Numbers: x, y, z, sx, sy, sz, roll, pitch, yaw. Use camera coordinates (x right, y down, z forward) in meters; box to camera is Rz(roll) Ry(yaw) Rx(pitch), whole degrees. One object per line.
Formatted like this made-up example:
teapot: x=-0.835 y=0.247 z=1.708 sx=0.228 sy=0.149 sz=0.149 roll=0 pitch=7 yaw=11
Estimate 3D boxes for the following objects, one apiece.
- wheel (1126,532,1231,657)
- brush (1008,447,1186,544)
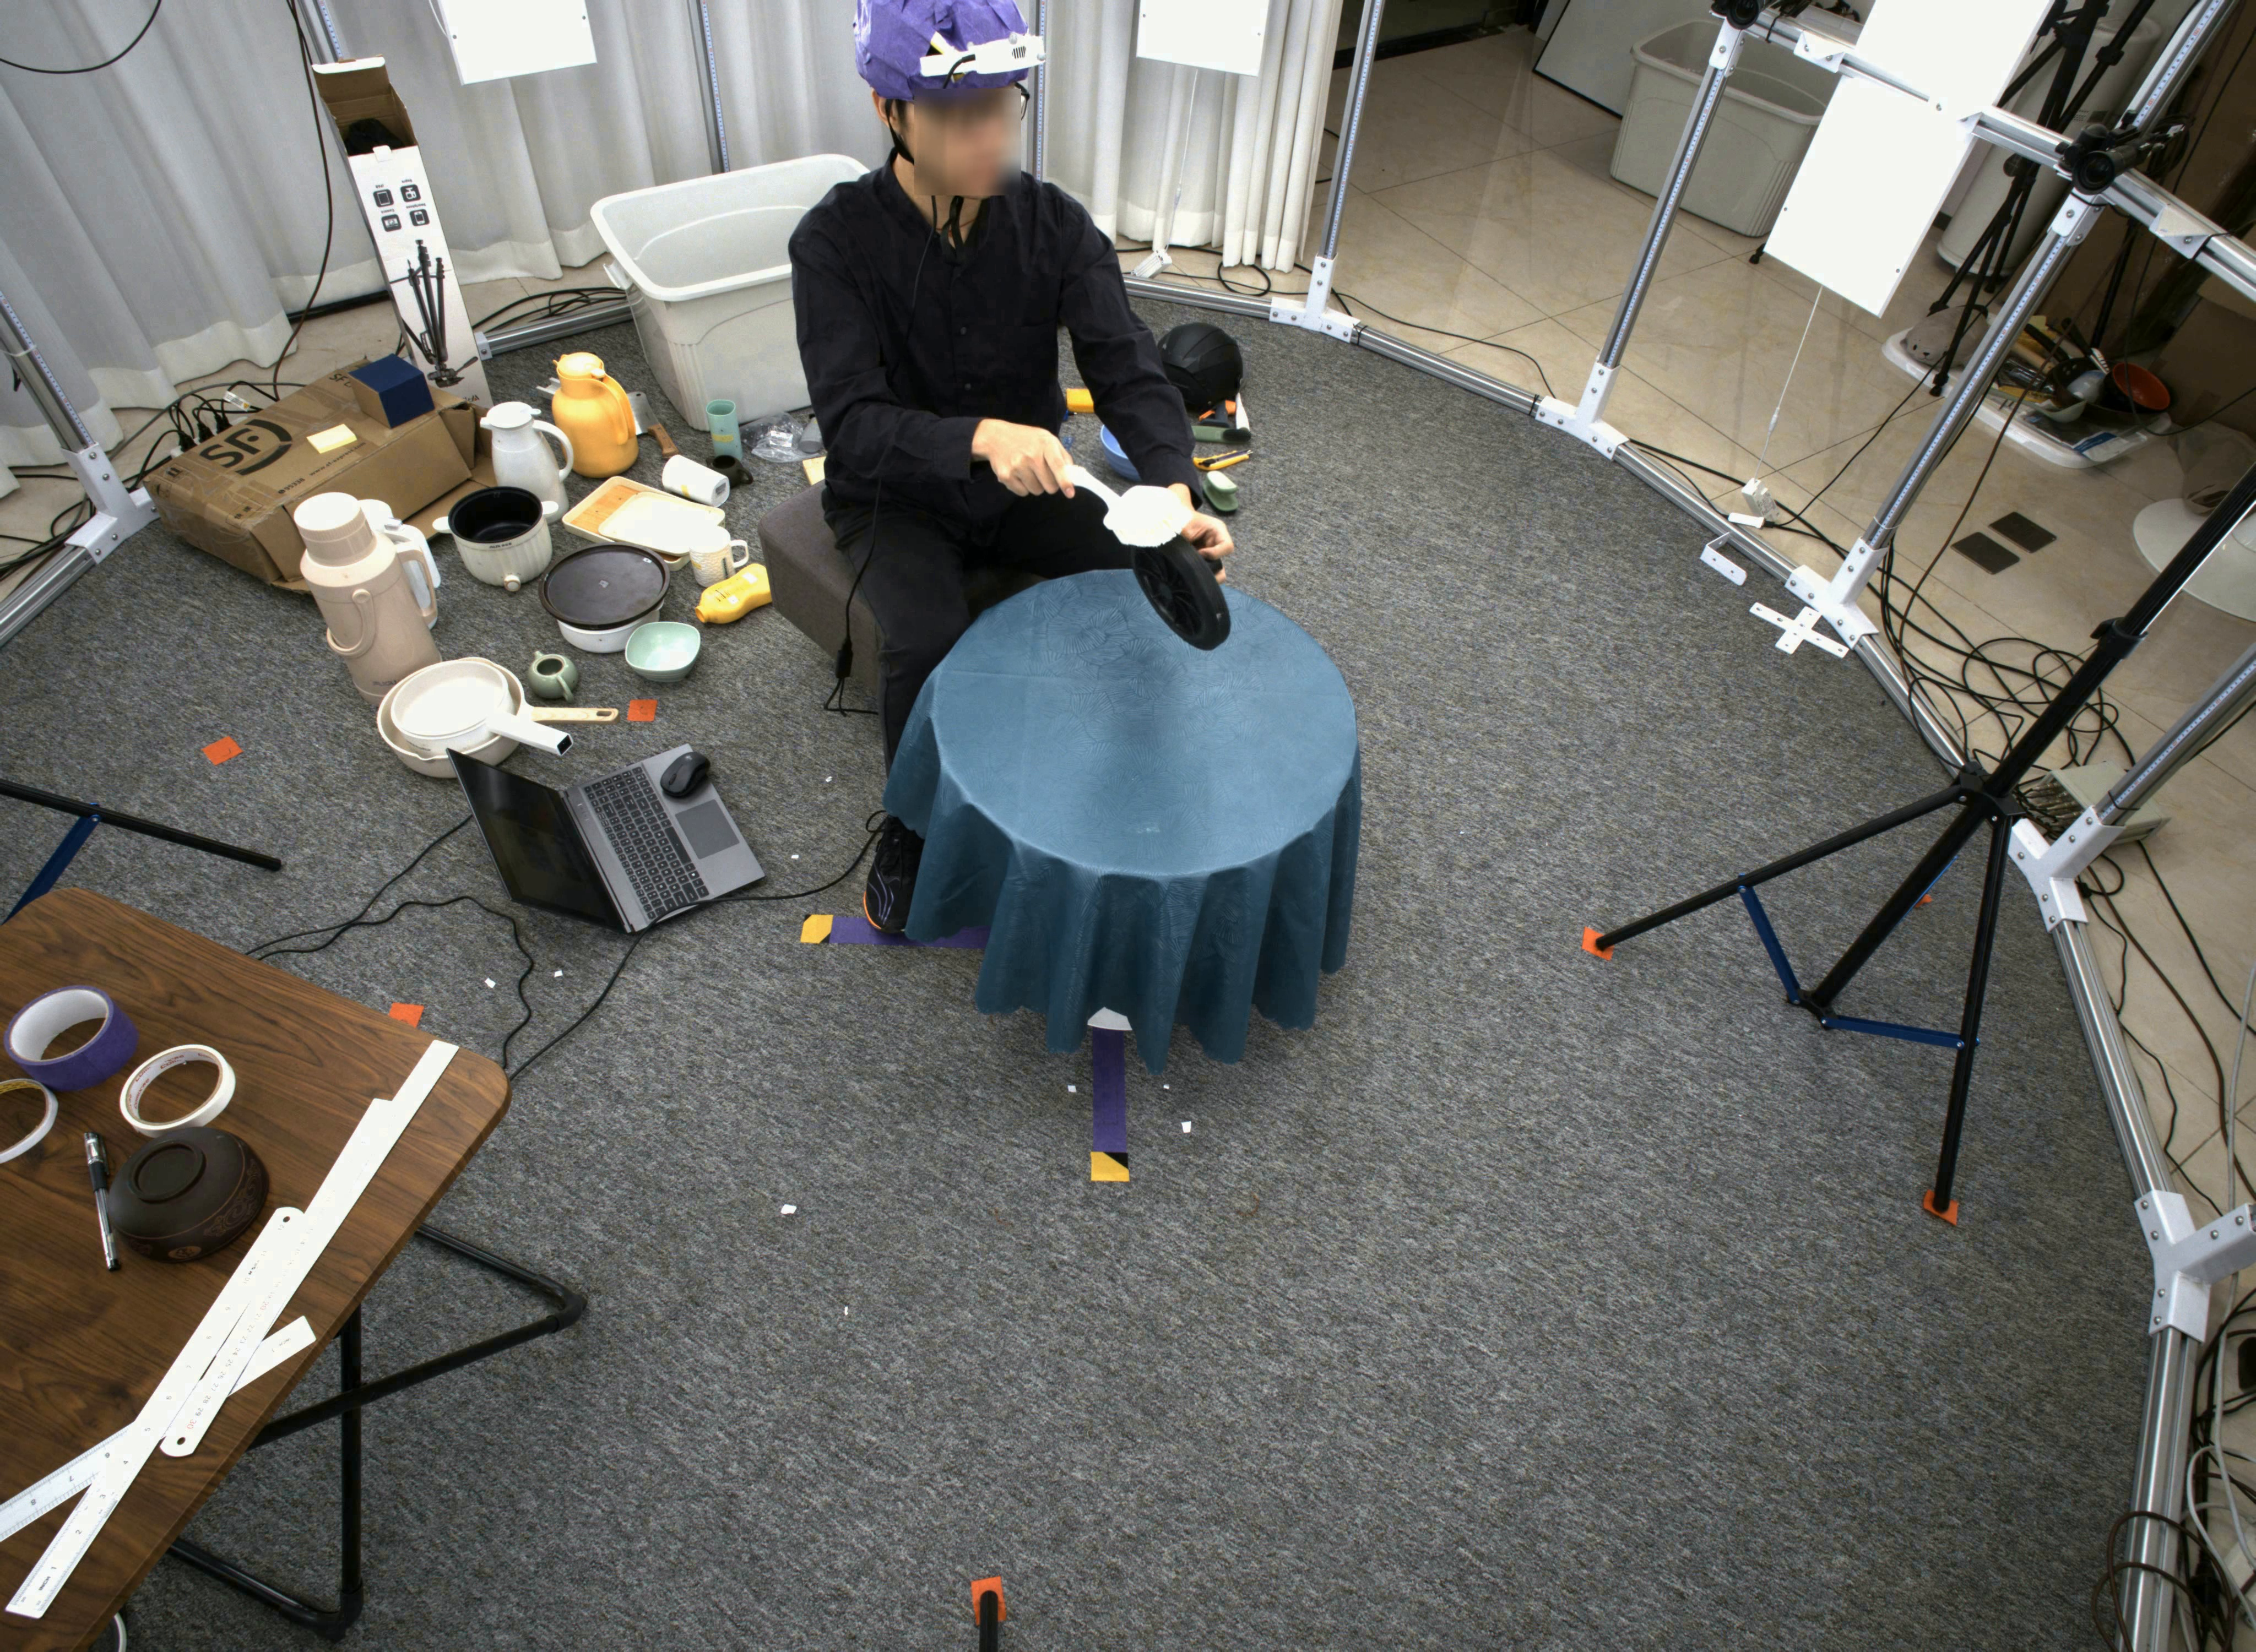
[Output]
wheel: x=0.082 y=-0.314 z=1.665 sx=0.079 sy=0.185 sz=0.191 roll=-37 pitch=81 yaw=-14
brush: x=-0.035 y=-0.417 z=1.631 sx=0.083 sy=0.083 sz=0.330 roll=-19 pitch=33 yaw=-34
